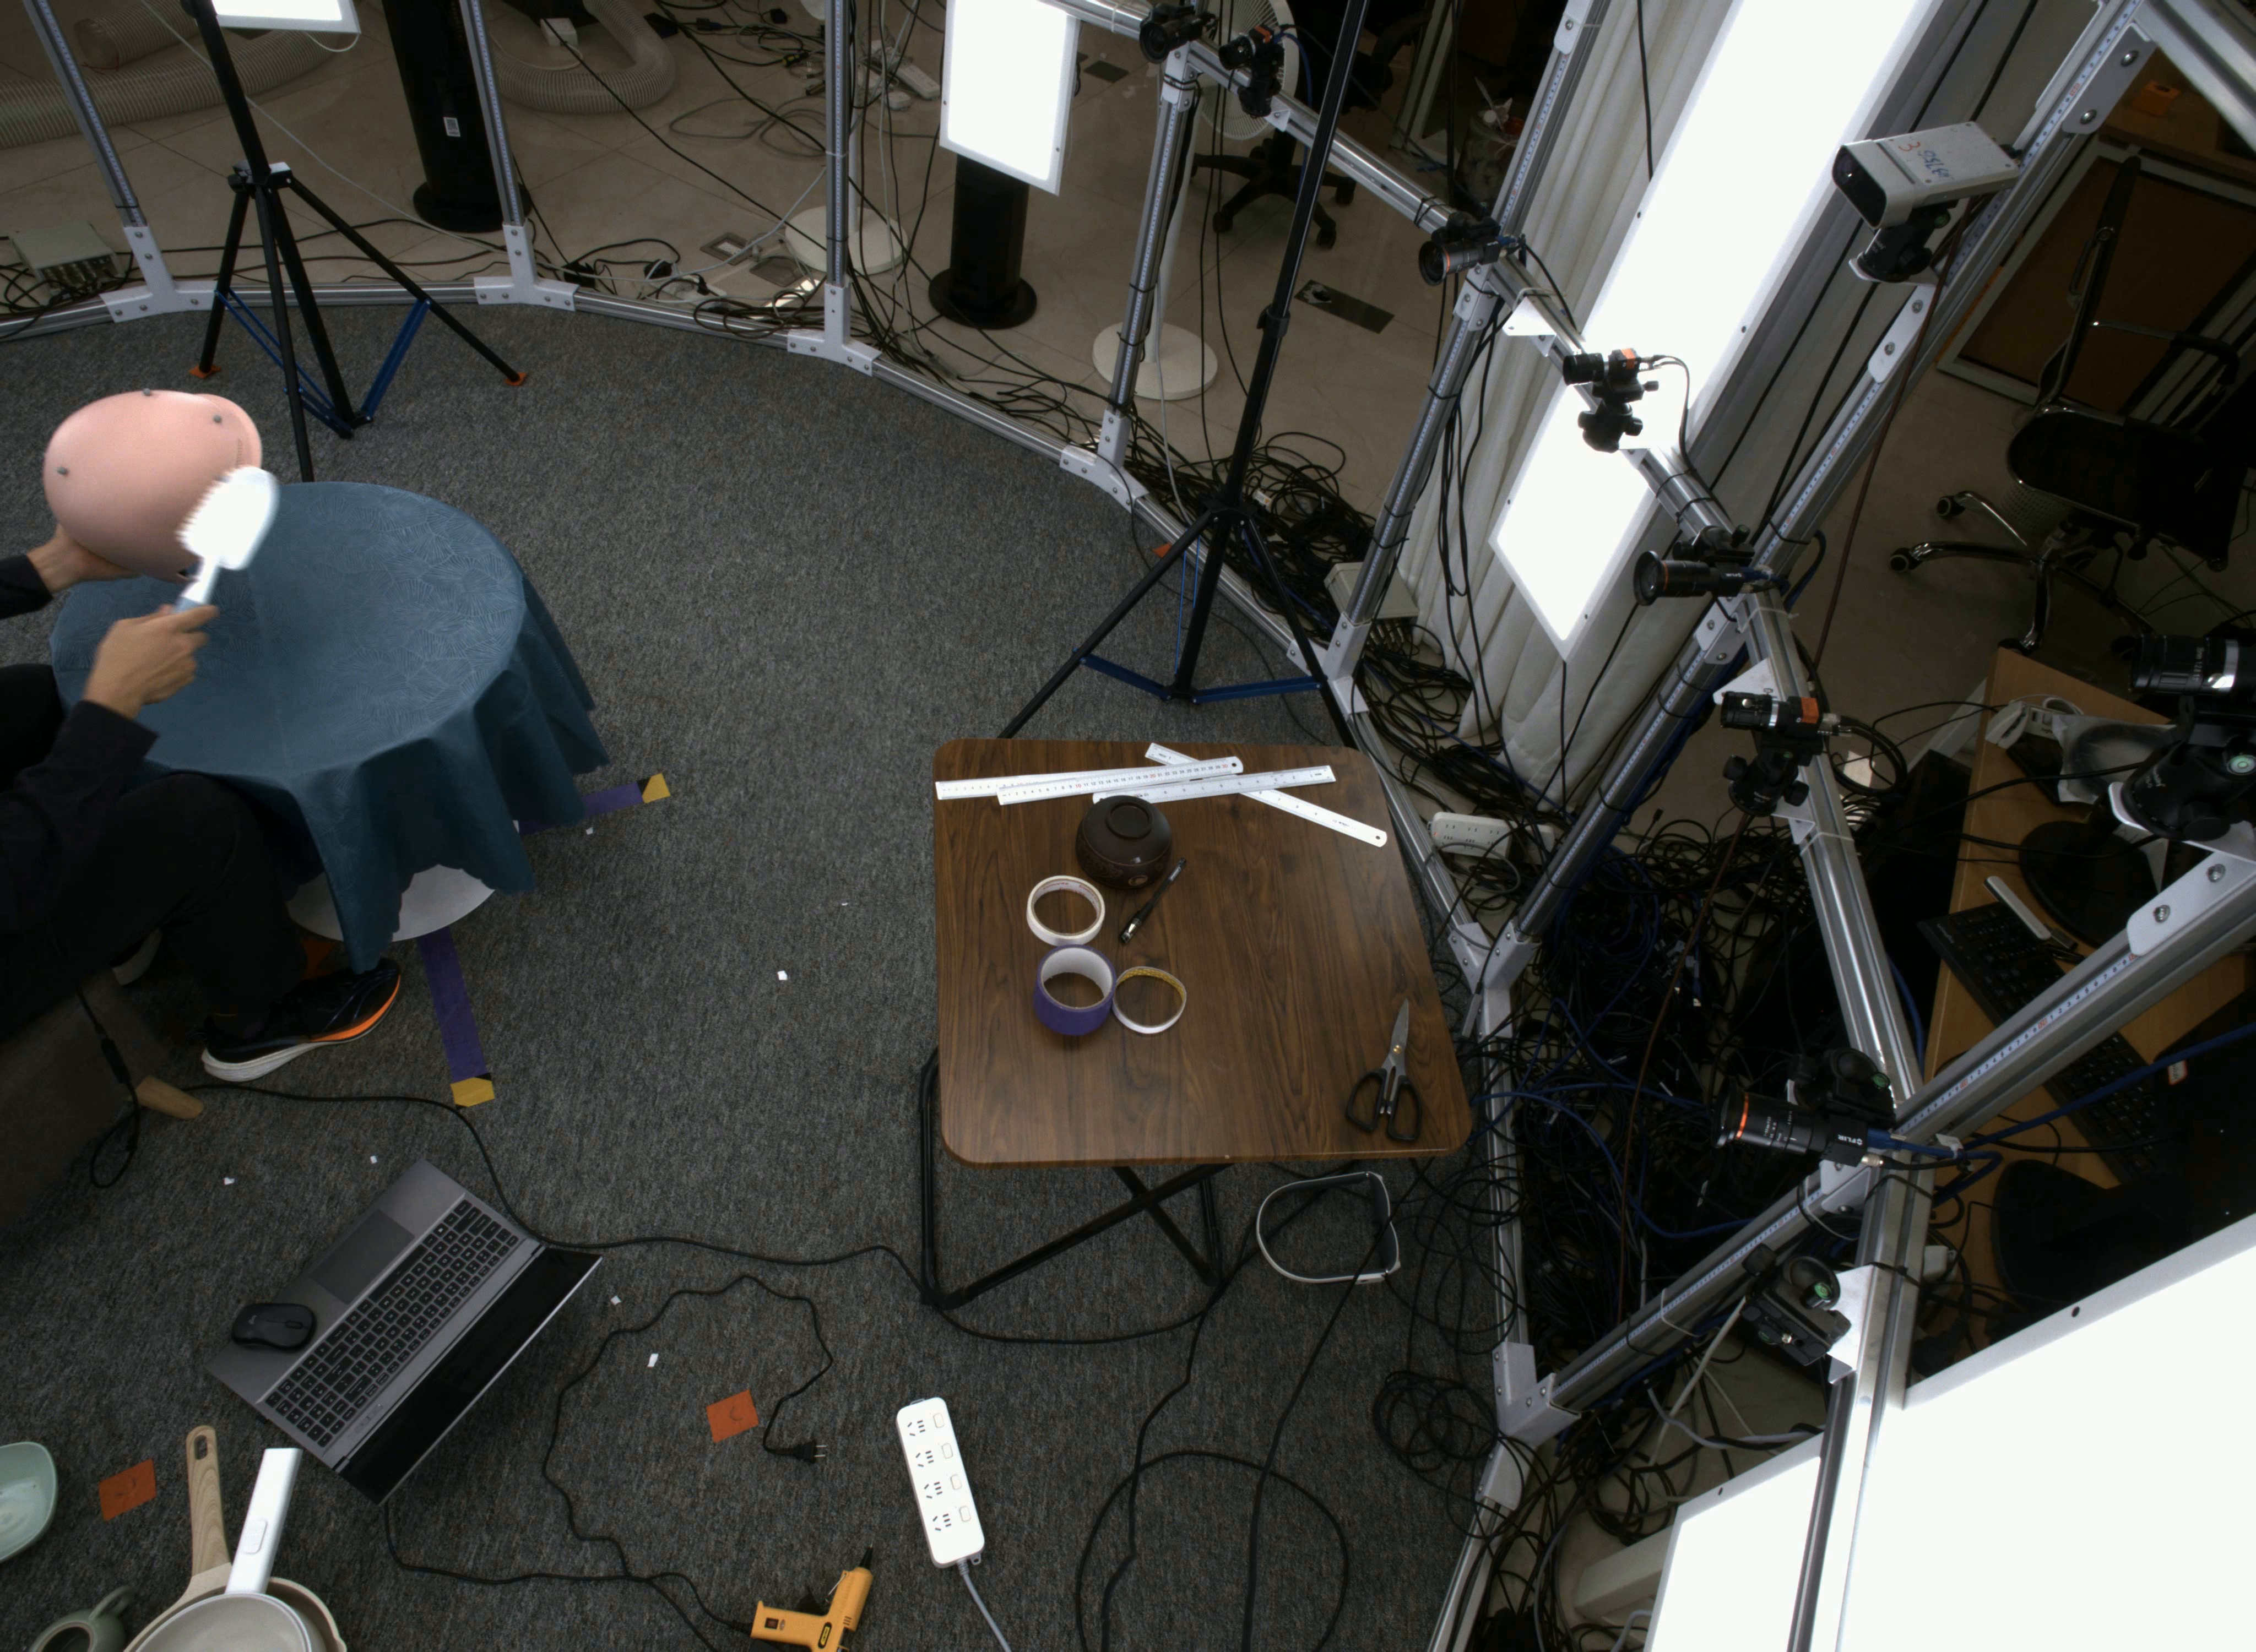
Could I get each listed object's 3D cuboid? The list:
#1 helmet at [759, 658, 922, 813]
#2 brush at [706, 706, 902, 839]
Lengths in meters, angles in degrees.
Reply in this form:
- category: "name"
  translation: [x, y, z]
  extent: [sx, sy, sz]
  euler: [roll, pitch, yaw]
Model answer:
- category: "helmet"
  translation: [-0.464, -0.168, 2.003]
  extent: [0.263, 0.165, 0.228]
  euler: [-29, 36, 18]
- category: "brush"
  translation: [-0.453, -0.074, 1.808]
  extent: [0.326, 0.087, 0.080]
  euler: [-37, 58, -27]
